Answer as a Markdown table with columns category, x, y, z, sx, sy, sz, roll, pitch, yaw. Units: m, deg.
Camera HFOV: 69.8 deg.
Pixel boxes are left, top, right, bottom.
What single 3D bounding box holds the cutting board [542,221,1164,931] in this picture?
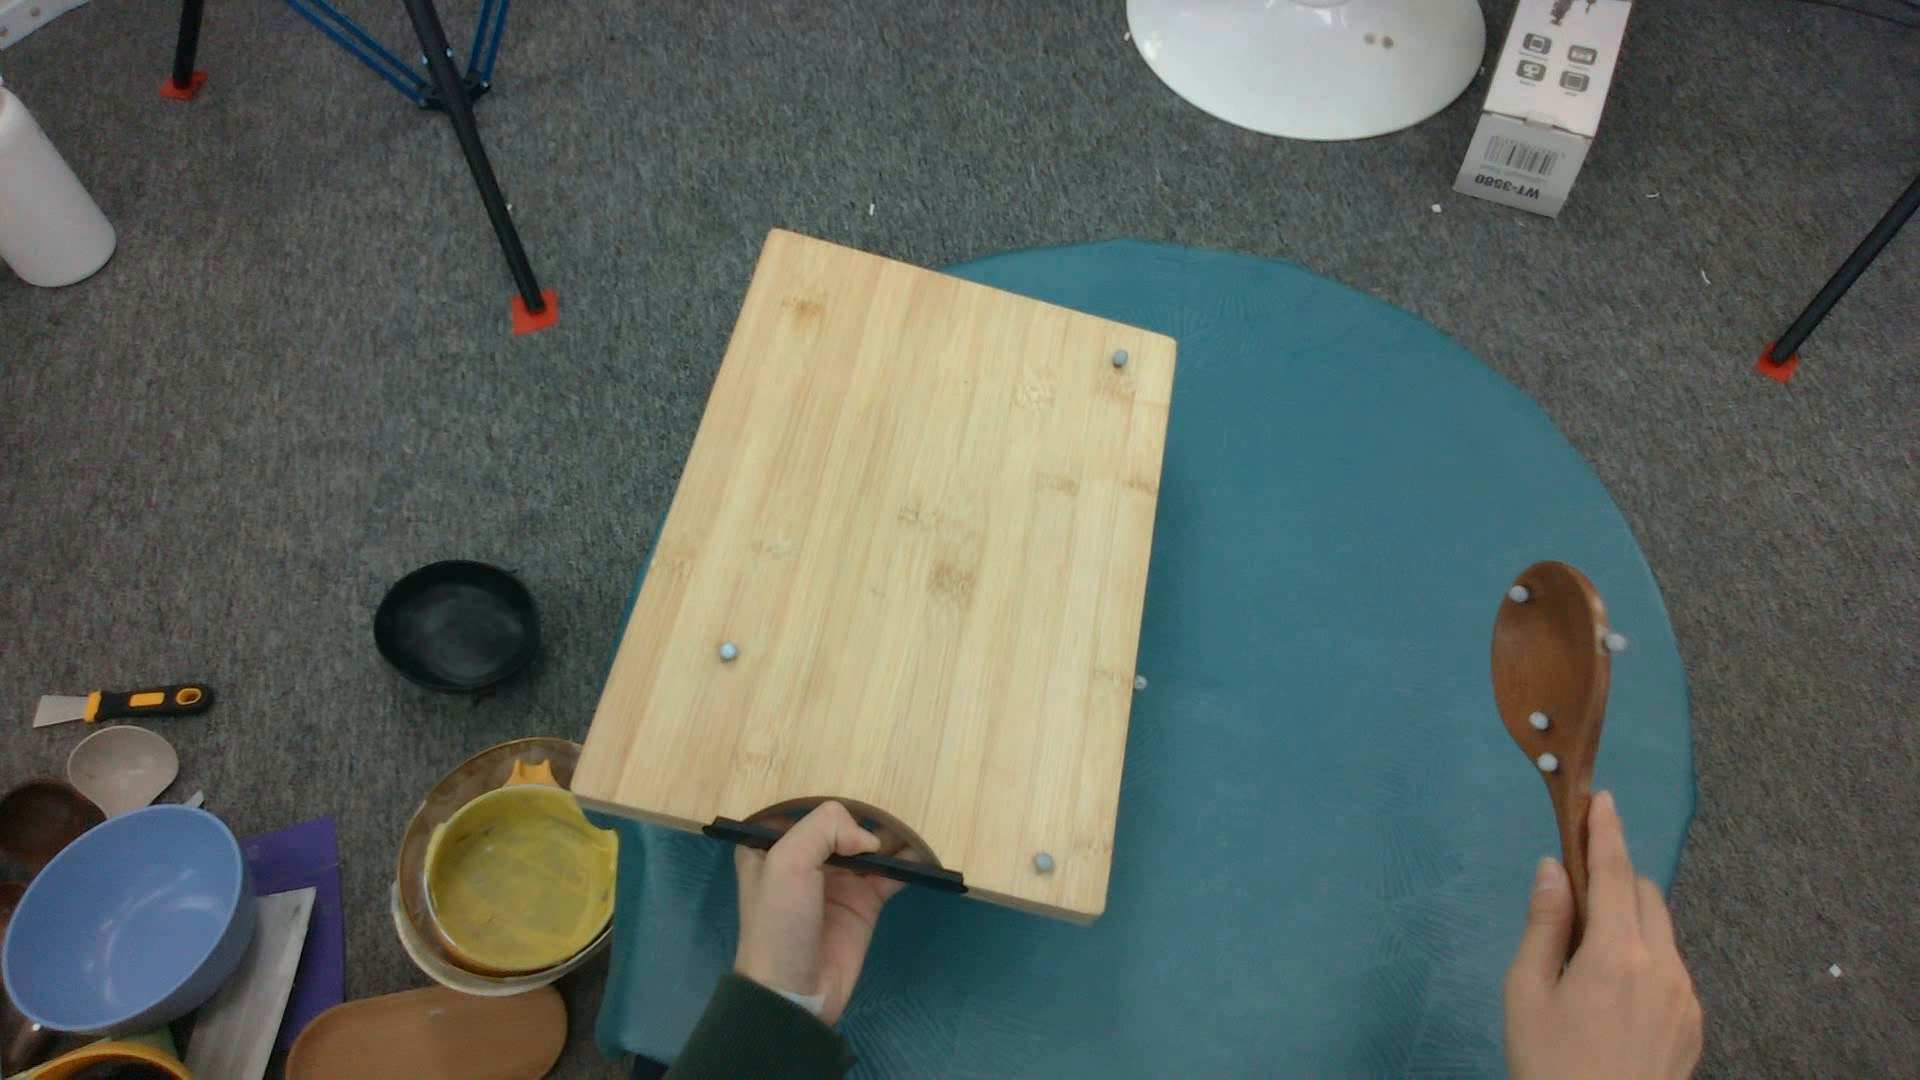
| category | x | y | z | sx | sy | sz | roll | pitch | yaw |
| --- | --- | --- | --- | --- | --- | --- | --- | --- | --- |
| cutting board | -0.032 | 0.000 | 0.692 | 0.251 | 0.023 | 0.350 | 13 | 58 | -5 |

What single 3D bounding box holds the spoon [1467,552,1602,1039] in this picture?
| category | x | y | z | sx | sy | sz | roll | pitch | yaw |
| --- | --- | --- | --- | --- | --- | --- | --- | --- | --- |
| spoon | 0.259 | 0.105 | 0.604 | 0.017 | 0.075 | 0.217 | 16 | 61 | -18 |
